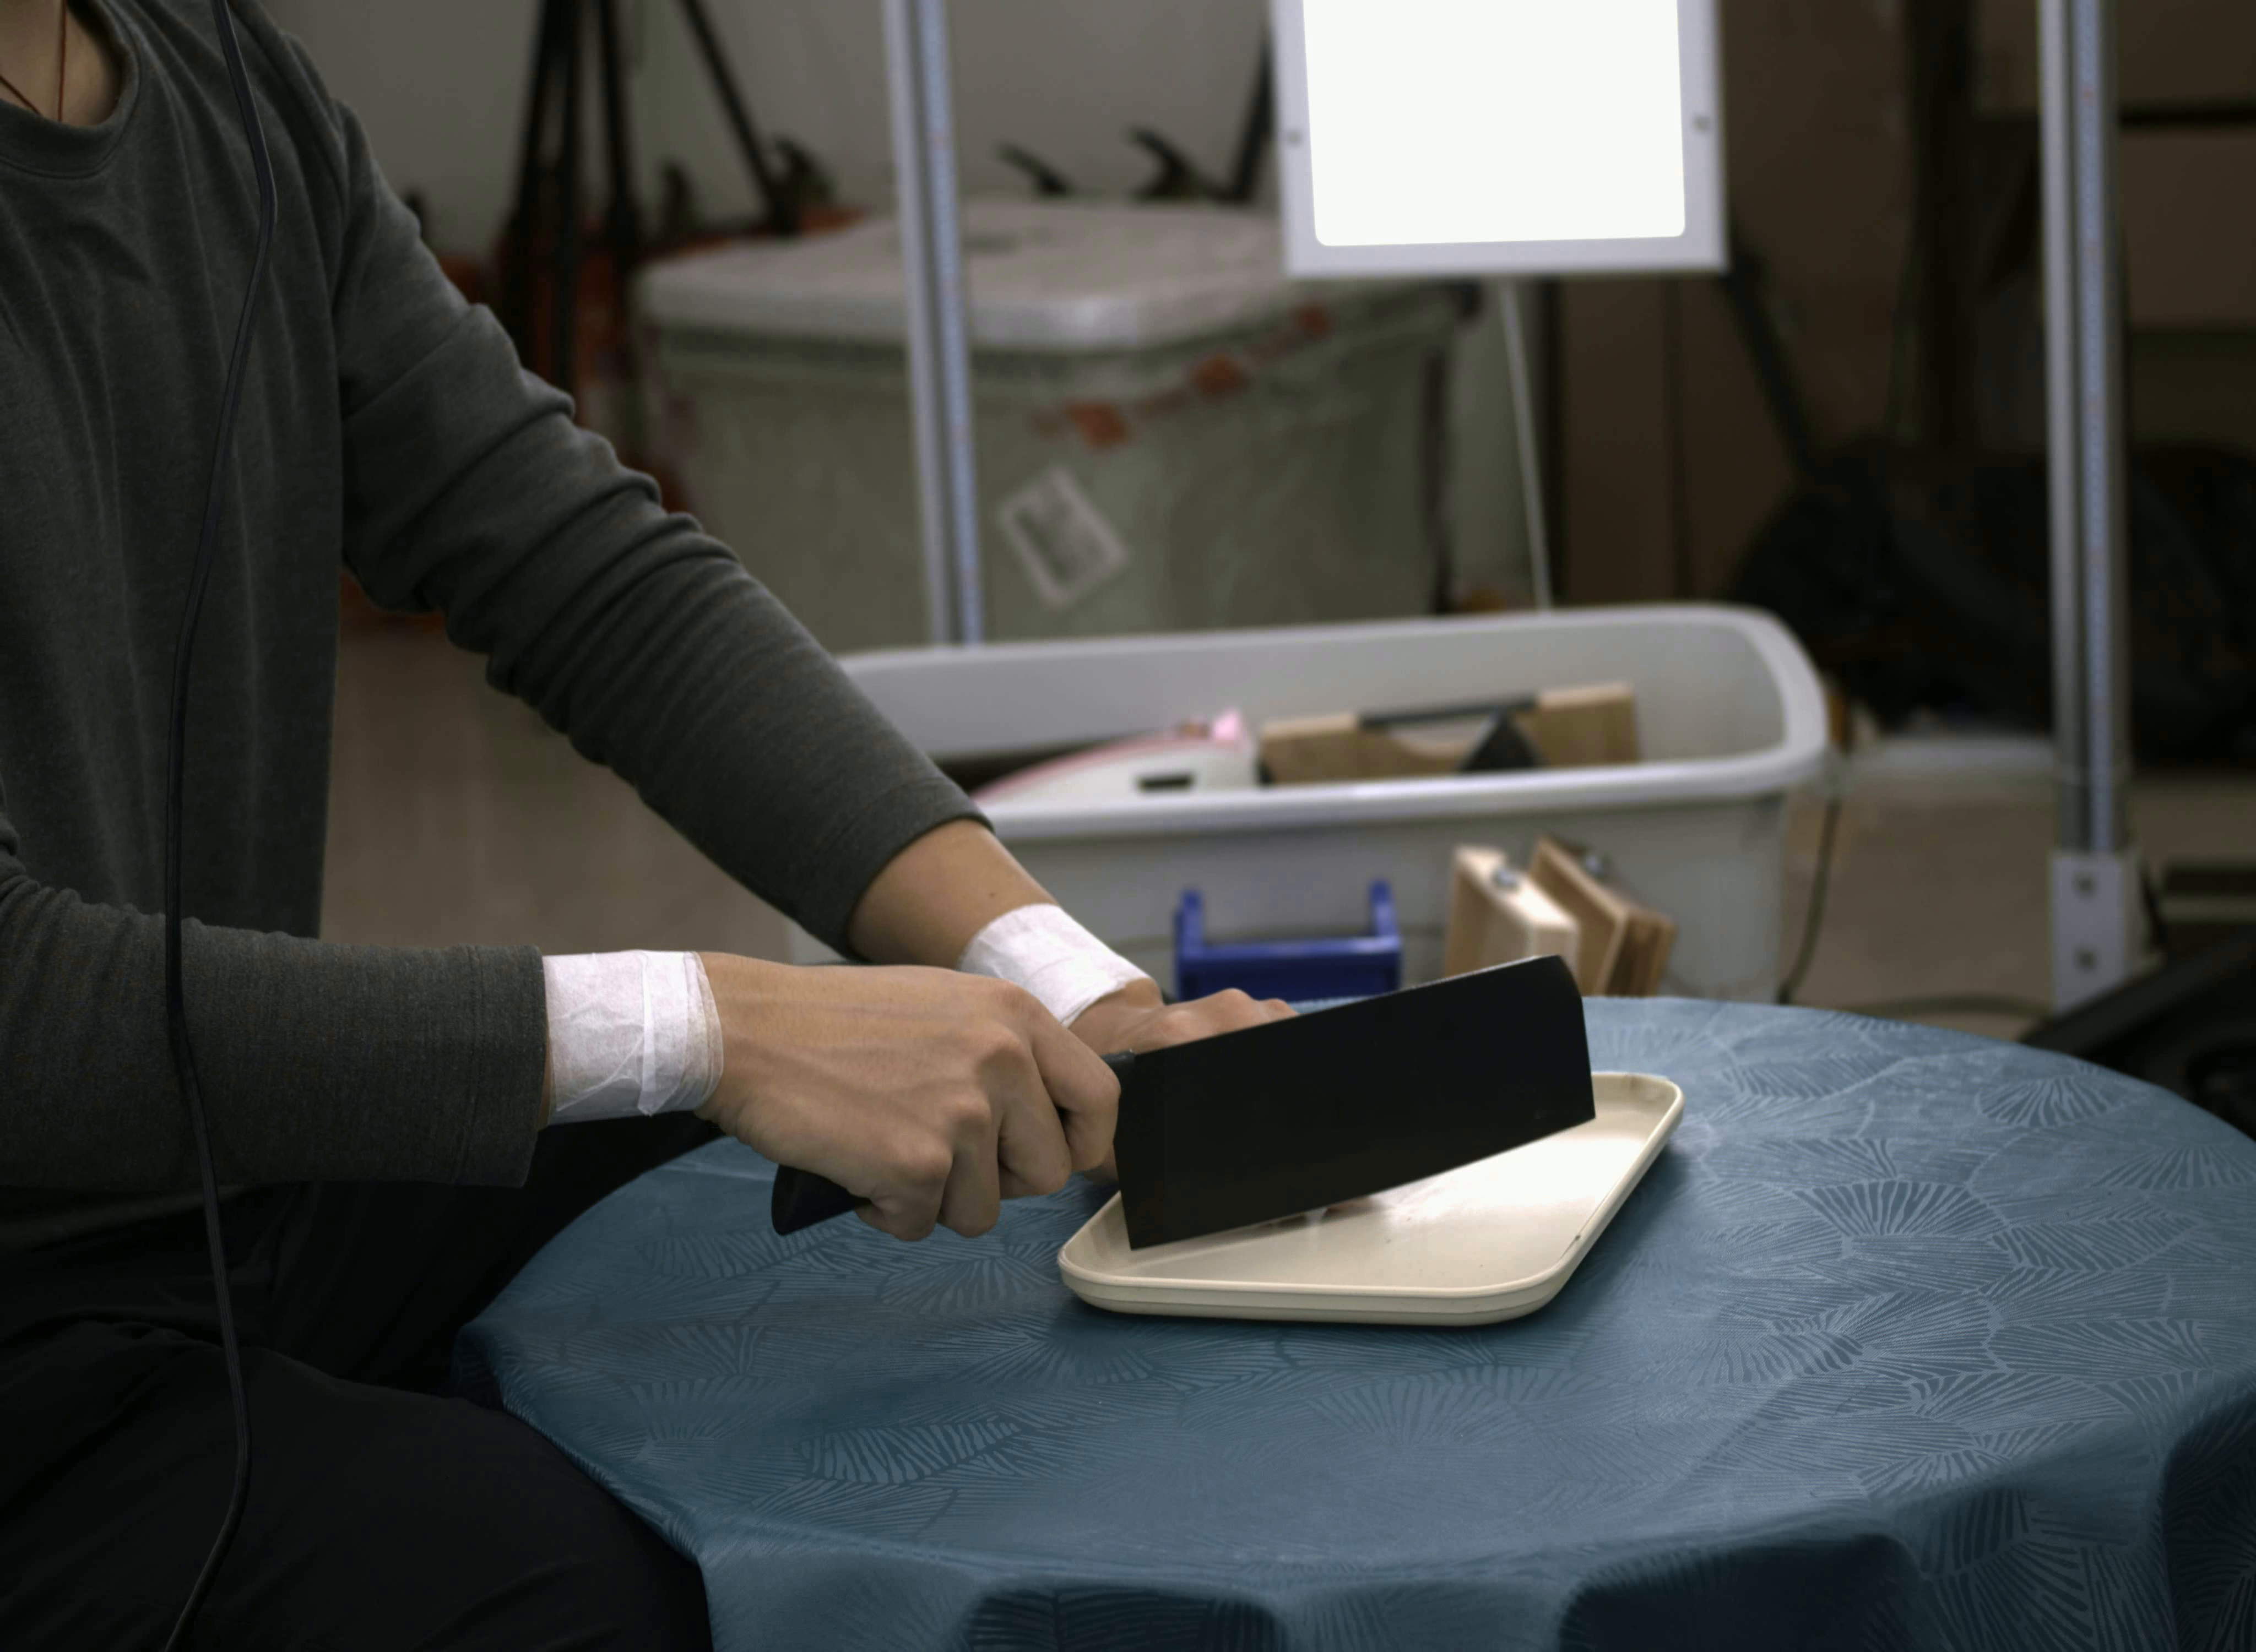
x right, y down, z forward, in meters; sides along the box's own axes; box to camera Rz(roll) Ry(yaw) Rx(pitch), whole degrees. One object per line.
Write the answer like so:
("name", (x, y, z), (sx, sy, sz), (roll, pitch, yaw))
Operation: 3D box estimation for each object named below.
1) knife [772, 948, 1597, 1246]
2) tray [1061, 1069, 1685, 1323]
("knife", (0.023, 0.099, 1.817), (0.296, 0.081, 0.021), (-8, 8, -22))
("tray", (0.087, 0.123, 1.849), (0.173, 0.017, 0.235), (-1, 14, 20))
